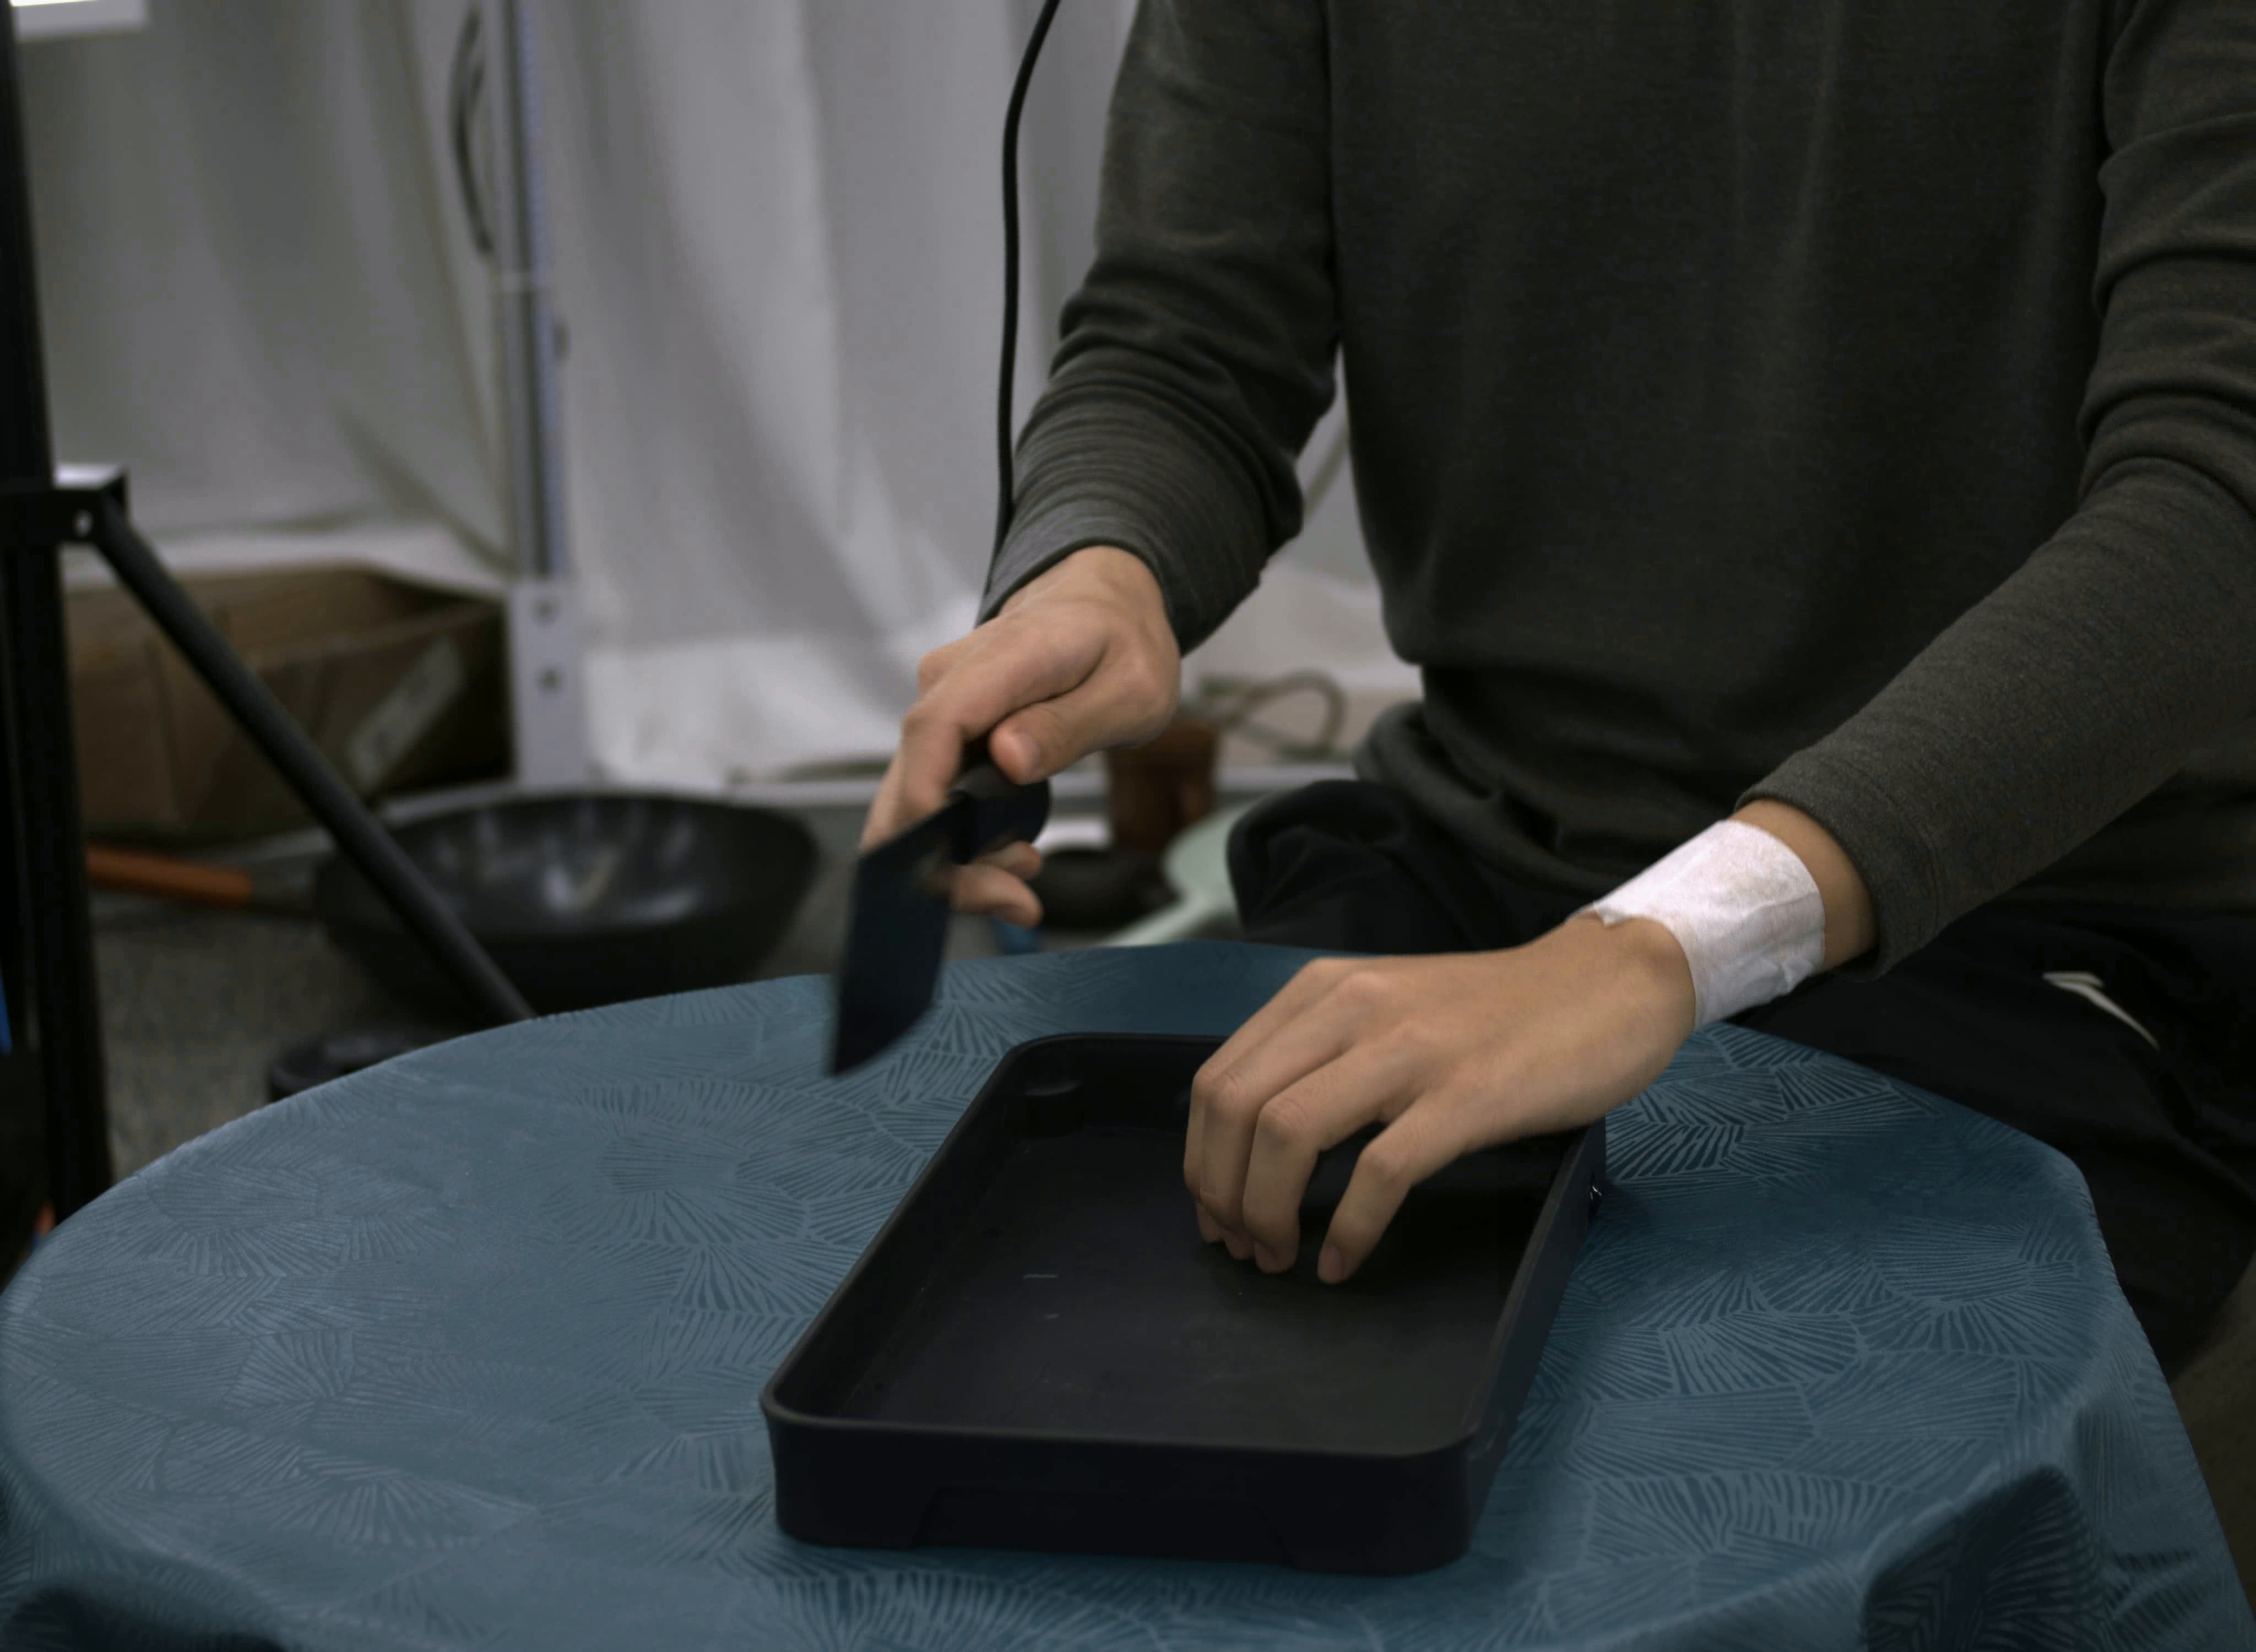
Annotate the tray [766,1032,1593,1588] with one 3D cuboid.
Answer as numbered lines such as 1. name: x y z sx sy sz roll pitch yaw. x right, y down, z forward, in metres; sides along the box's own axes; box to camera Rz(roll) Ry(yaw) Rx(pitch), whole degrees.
1. tray: 0.023 0.123 1.437 0.185 0.037 0.316 1 16 11

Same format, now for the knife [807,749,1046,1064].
1. knife: -0.056 0.018 1.507 0.021 0.081 0.300 12 11 6
